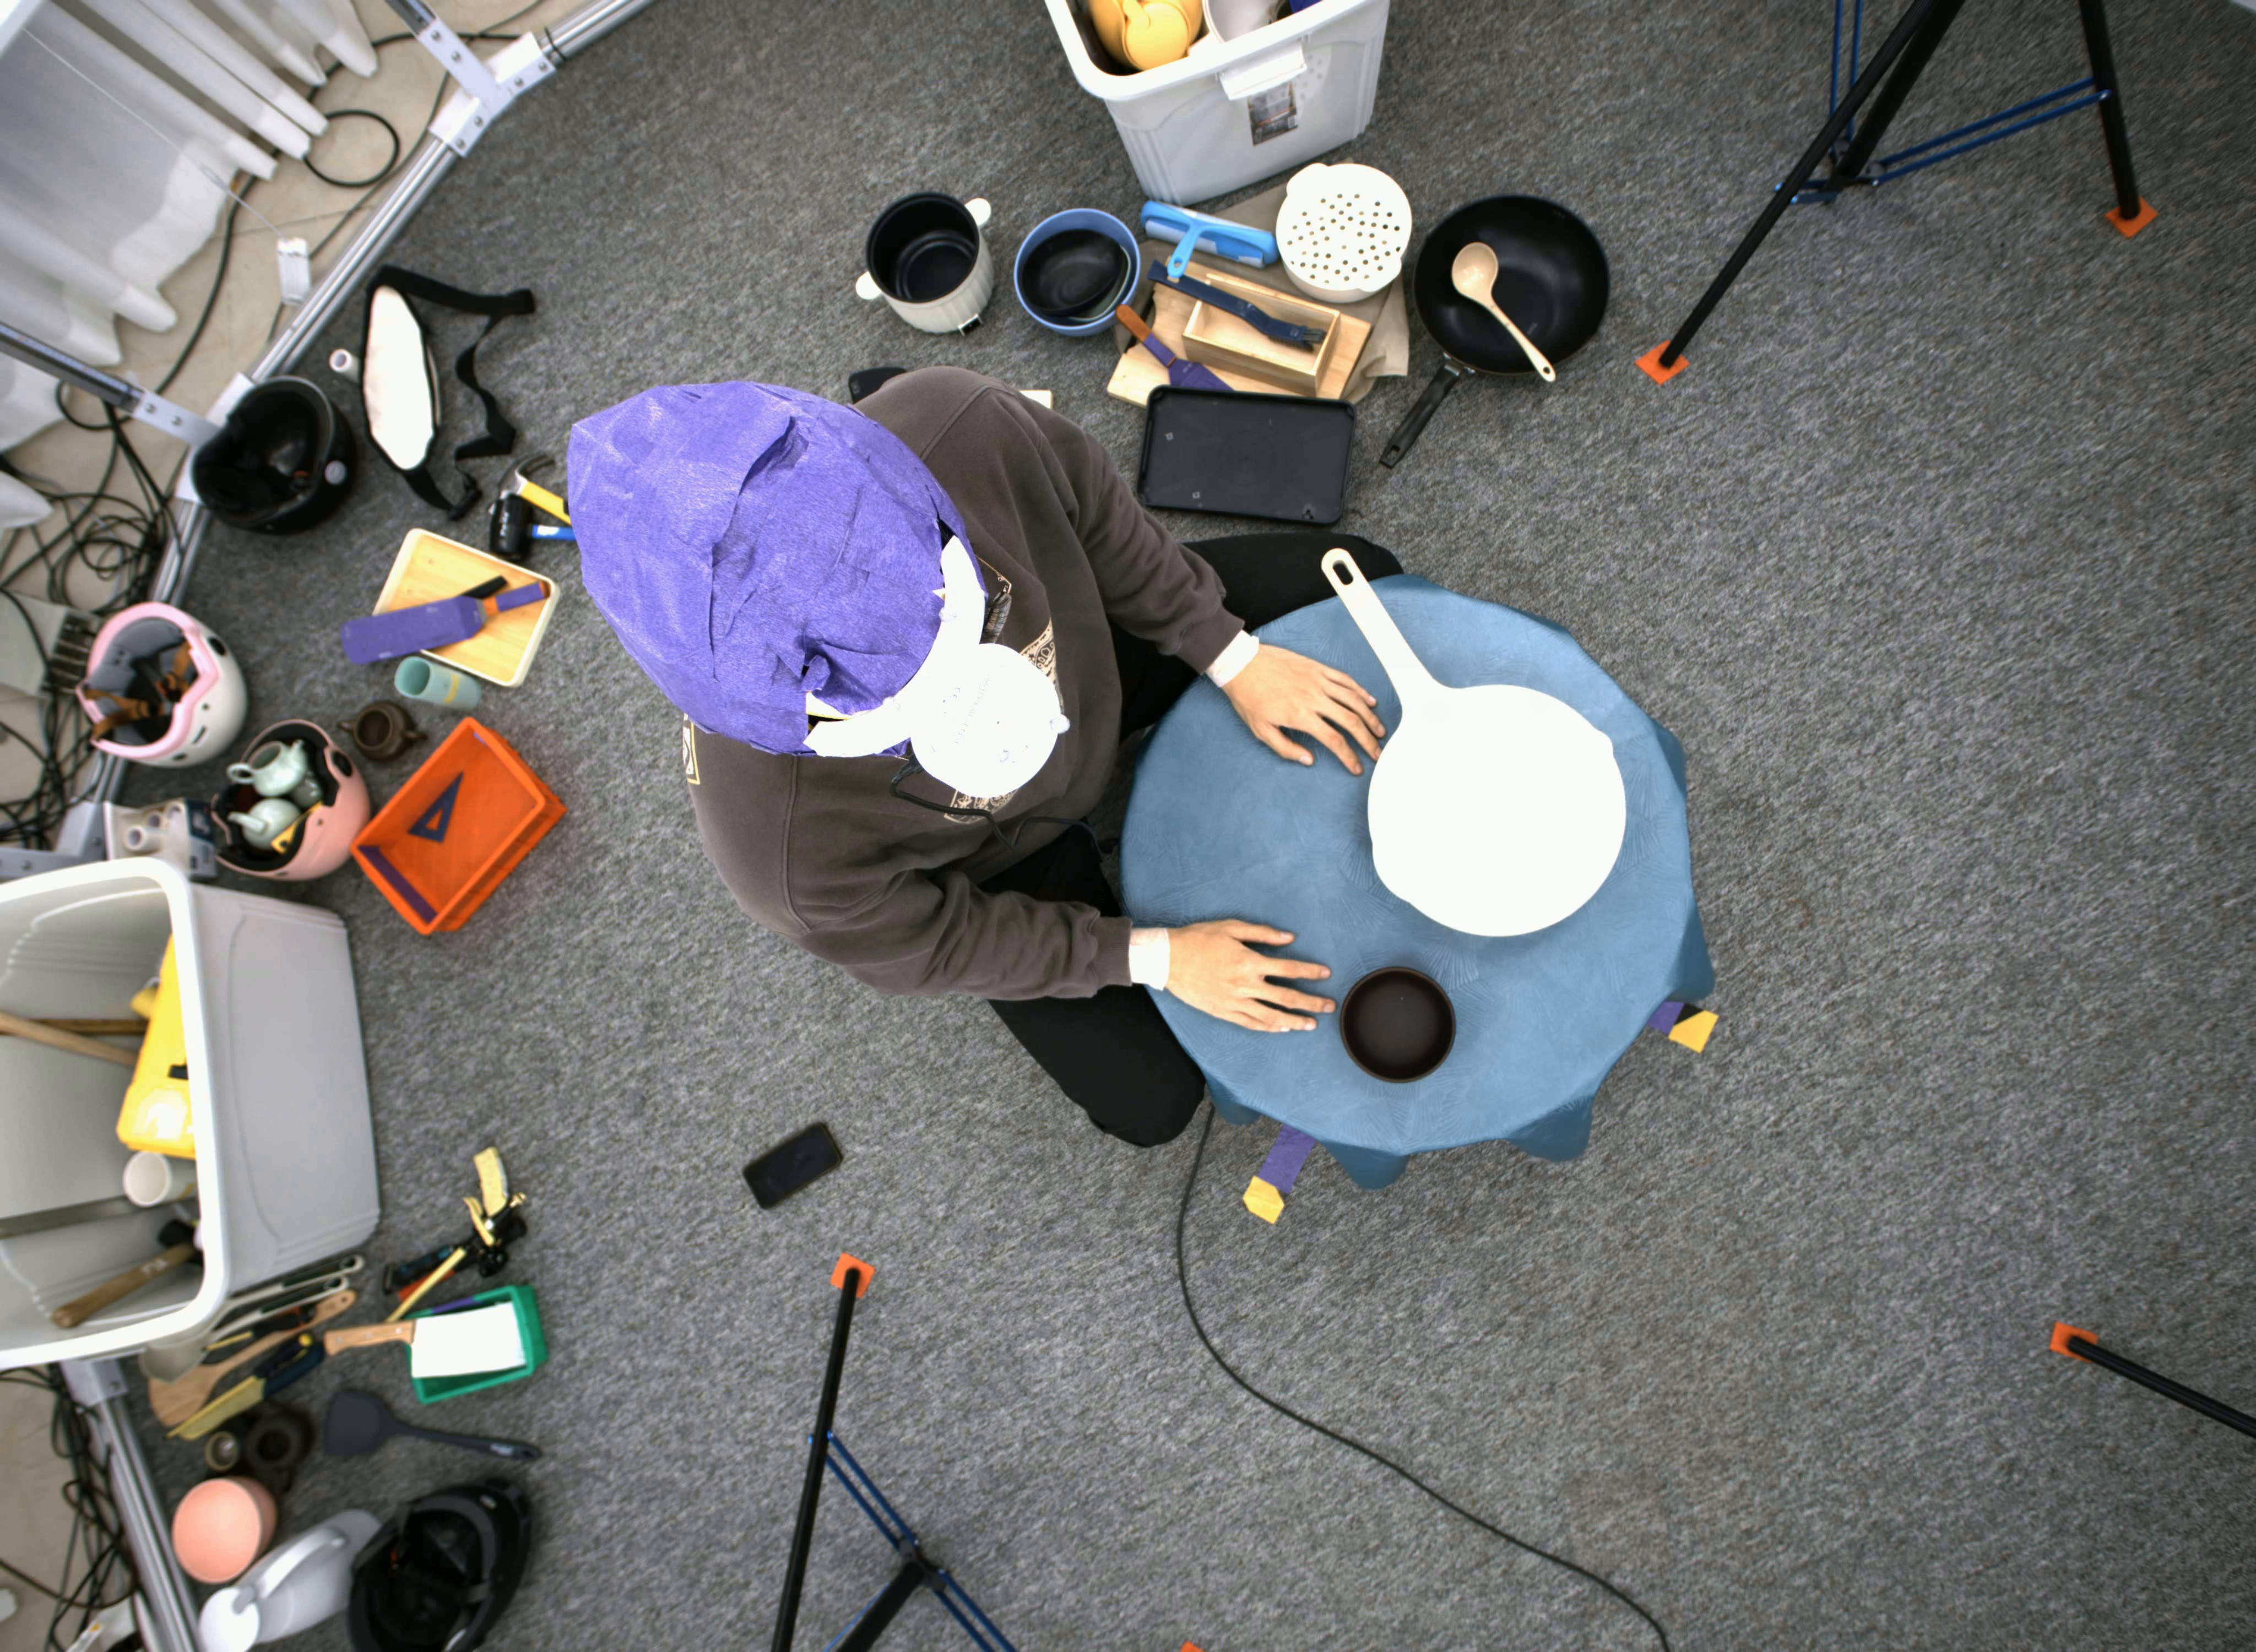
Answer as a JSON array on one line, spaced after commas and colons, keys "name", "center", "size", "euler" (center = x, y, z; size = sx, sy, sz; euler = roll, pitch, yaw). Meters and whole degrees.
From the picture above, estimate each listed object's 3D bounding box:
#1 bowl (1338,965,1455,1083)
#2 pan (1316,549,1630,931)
[{"name": "bowl", "center": [0.275, 0.200, 1.414], "size": [0.118, 0.070, 0.117], "euler": [-1, 87, 12]}, {"name": "pan", "center": [0.325, -0.097, 1.406], "size": [0.265, 0.102, 0.432], "euler": [-33, 81, 9]}]
